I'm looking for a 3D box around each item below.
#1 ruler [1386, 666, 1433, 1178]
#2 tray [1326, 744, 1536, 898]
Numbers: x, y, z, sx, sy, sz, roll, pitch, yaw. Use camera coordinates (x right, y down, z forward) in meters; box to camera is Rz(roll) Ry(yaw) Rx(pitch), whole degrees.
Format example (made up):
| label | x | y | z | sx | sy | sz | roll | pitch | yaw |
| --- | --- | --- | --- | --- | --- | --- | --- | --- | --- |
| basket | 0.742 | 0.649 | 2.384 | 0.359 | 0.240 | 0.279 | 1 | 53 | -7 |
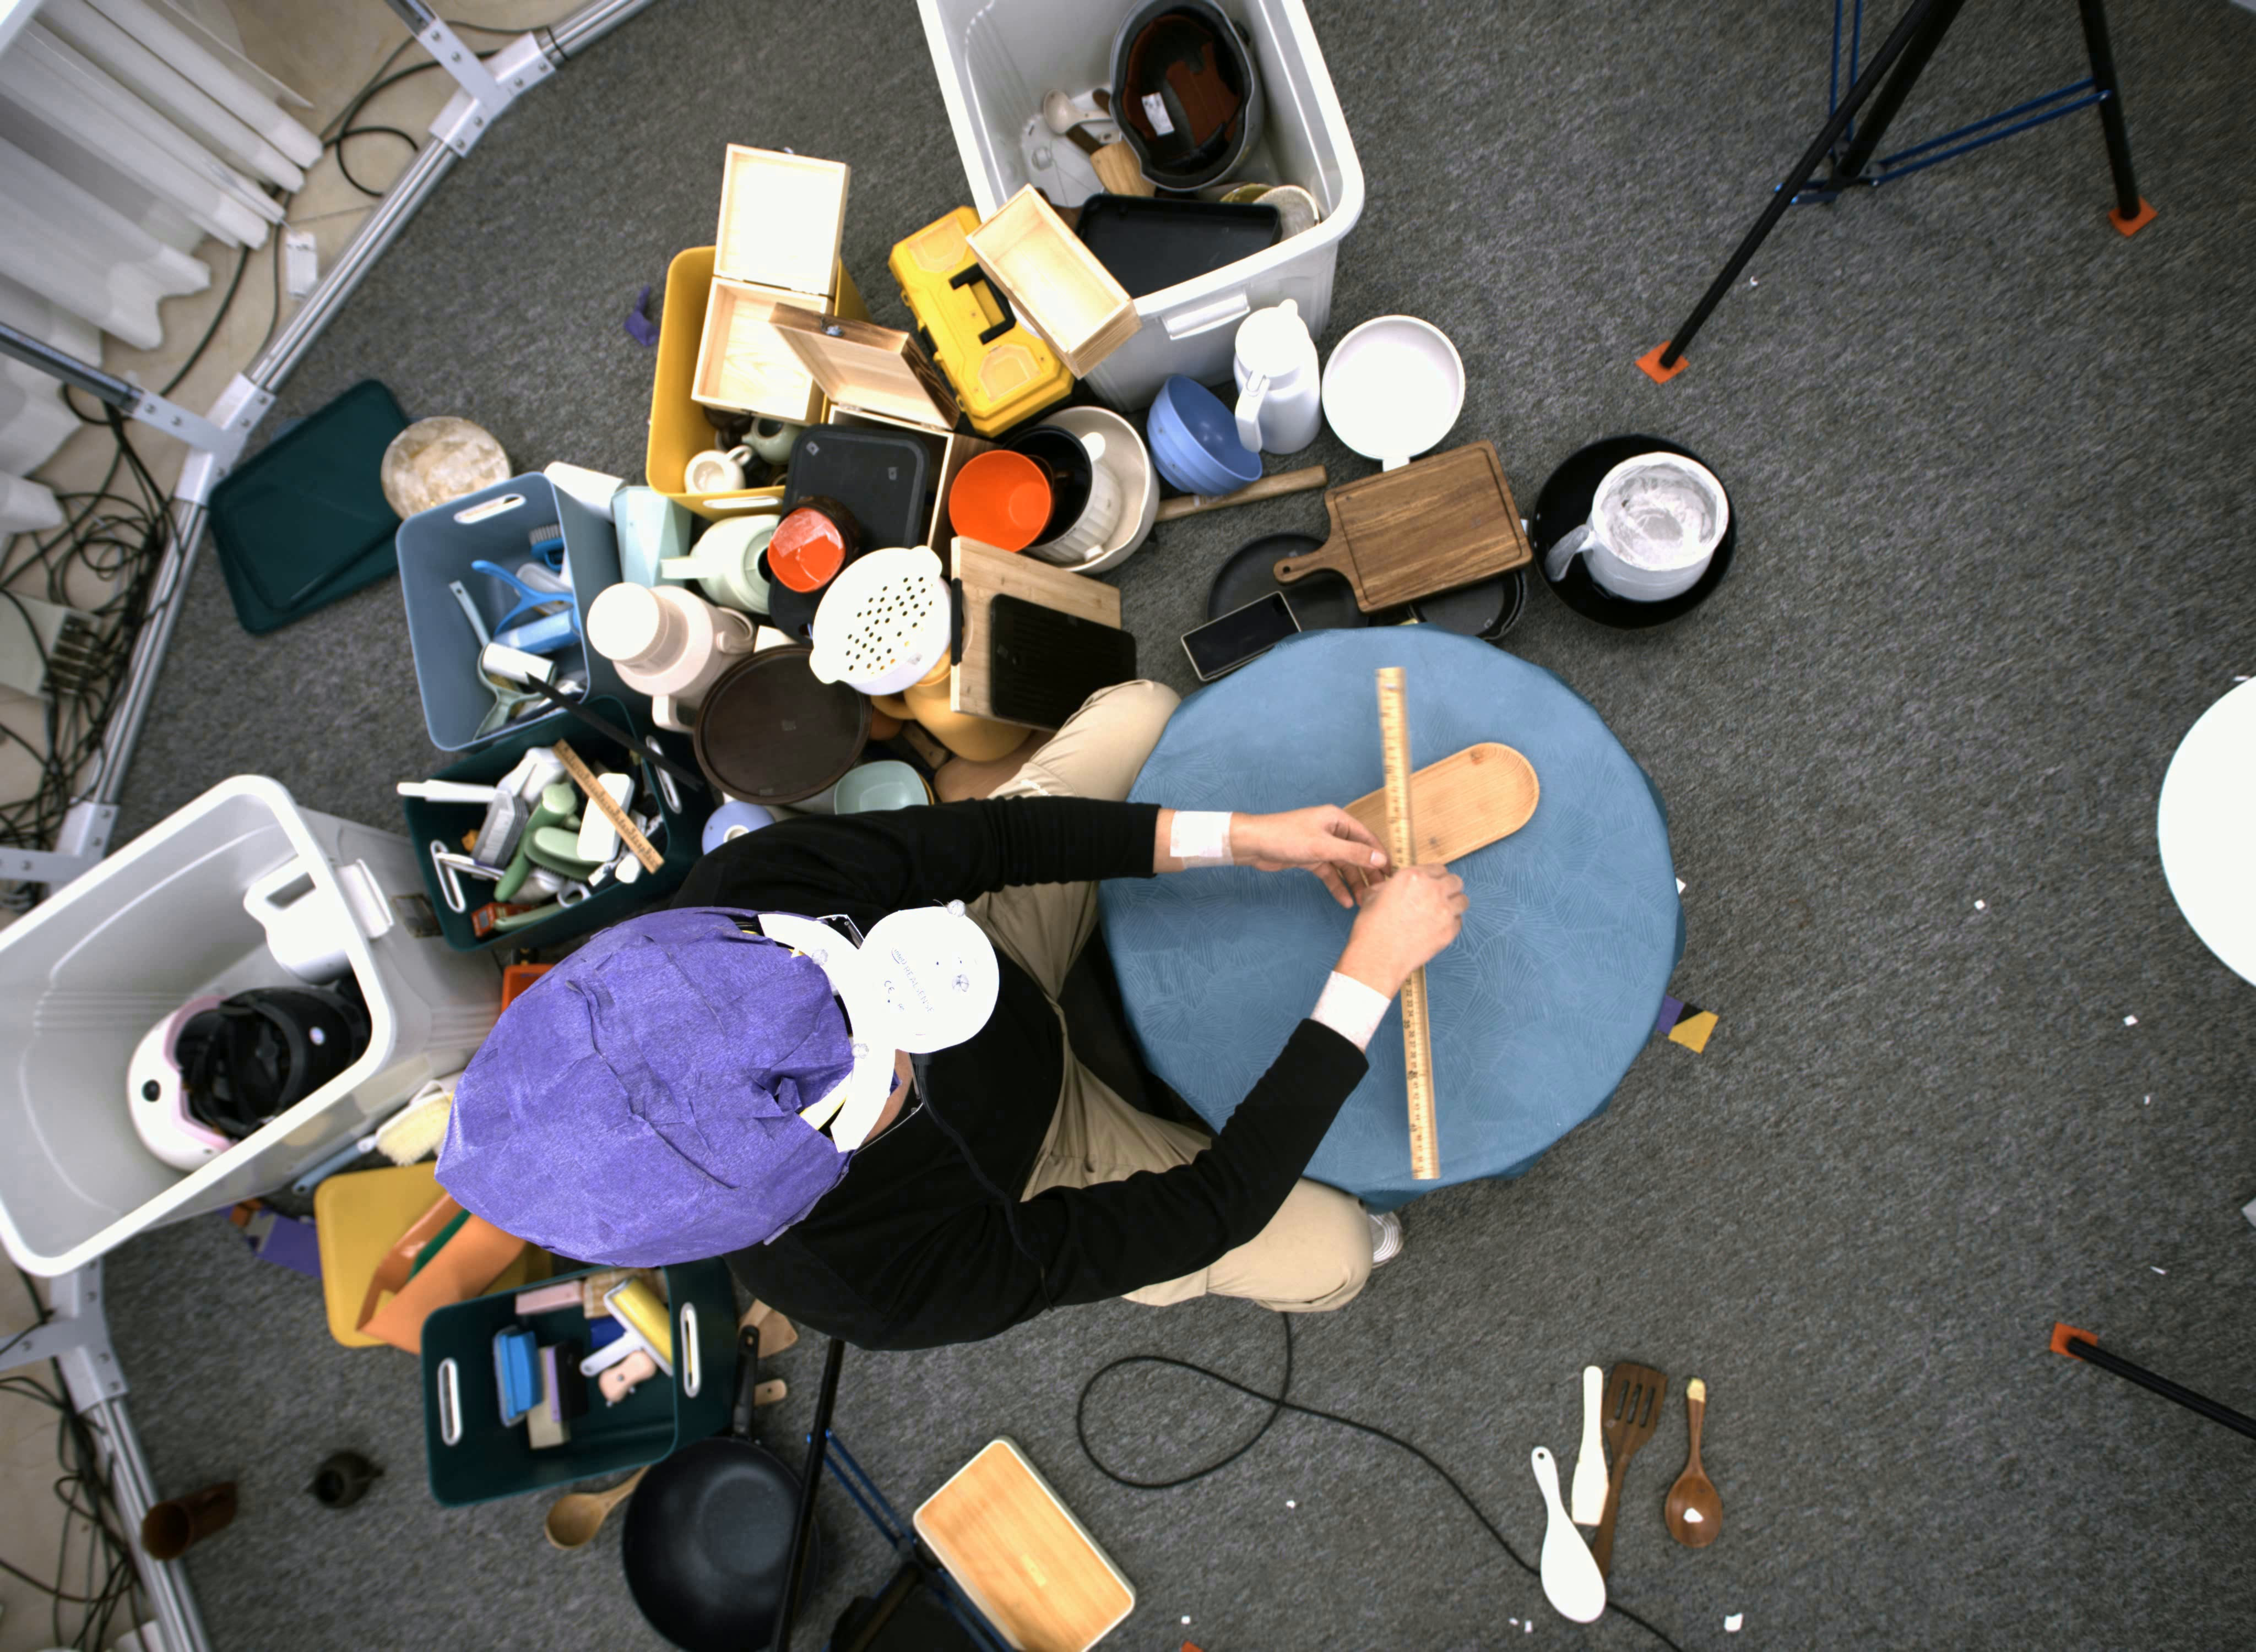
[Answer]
| label | x | y | z | sx | sy | sz | roll | pitch | yaw |
| --- | --- | --- | --- | --- | --- | --- | --- | --- | --- |
| ruler | 0.275 | 0.092 | 1.348 | 0.027 | 0.006 | 0.499 | -2 | 90 | 21 |
| tray | 0.317 | -0.007 | 1.447 | 0.233 | 0.020 | 0.101 | -28 | 81 | 9 |
